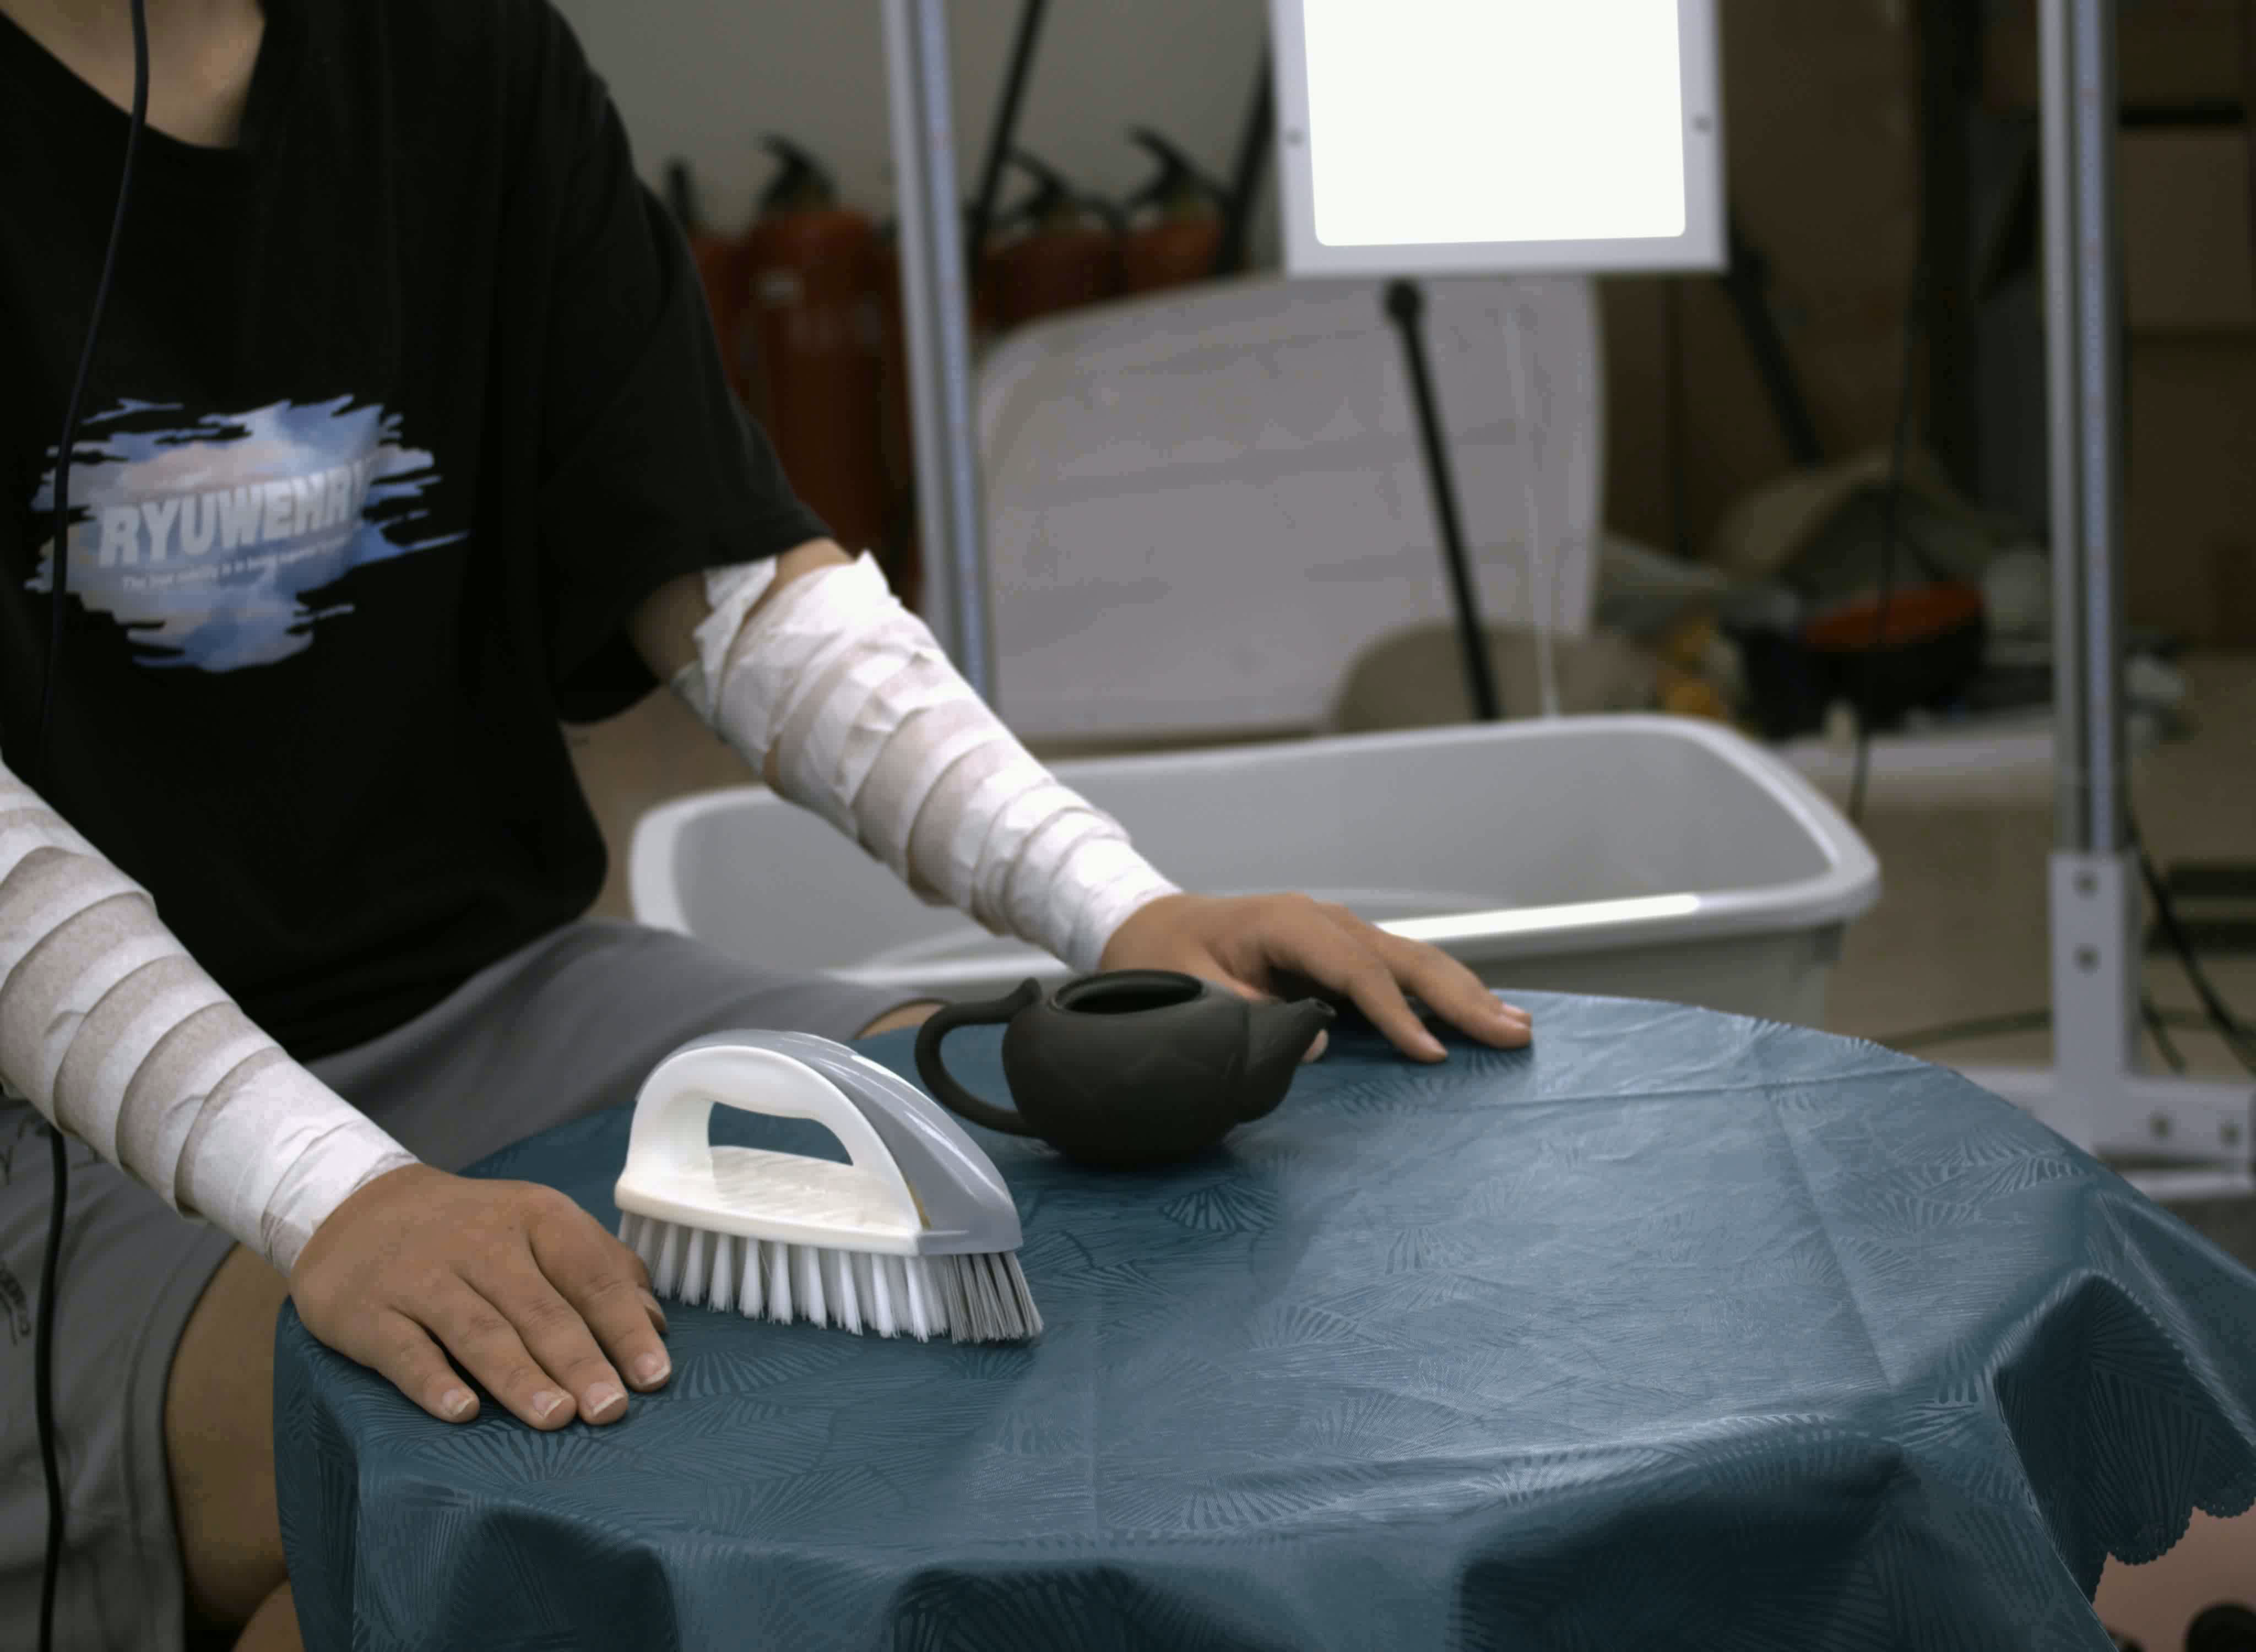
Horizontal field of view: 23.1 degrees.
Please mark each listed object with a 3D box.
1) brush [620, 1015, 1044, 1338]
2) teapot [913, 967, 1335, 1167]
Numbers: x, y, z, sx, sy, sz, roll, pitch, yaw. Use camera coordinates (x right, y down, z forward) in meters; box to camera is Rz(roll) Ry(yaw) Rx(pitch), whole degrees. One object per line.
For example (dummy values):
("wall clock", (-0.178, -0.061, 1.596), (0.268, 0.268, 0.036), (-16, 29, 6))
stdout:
("brush", (-0.096, 0.112, 1.802), (0.179, 0.094, 0.060), (11, 24, 43))
("teapot", (-0.001, 0.083, 1.940), (0.156, 0.064, 0.091), (0, 14, 16))
